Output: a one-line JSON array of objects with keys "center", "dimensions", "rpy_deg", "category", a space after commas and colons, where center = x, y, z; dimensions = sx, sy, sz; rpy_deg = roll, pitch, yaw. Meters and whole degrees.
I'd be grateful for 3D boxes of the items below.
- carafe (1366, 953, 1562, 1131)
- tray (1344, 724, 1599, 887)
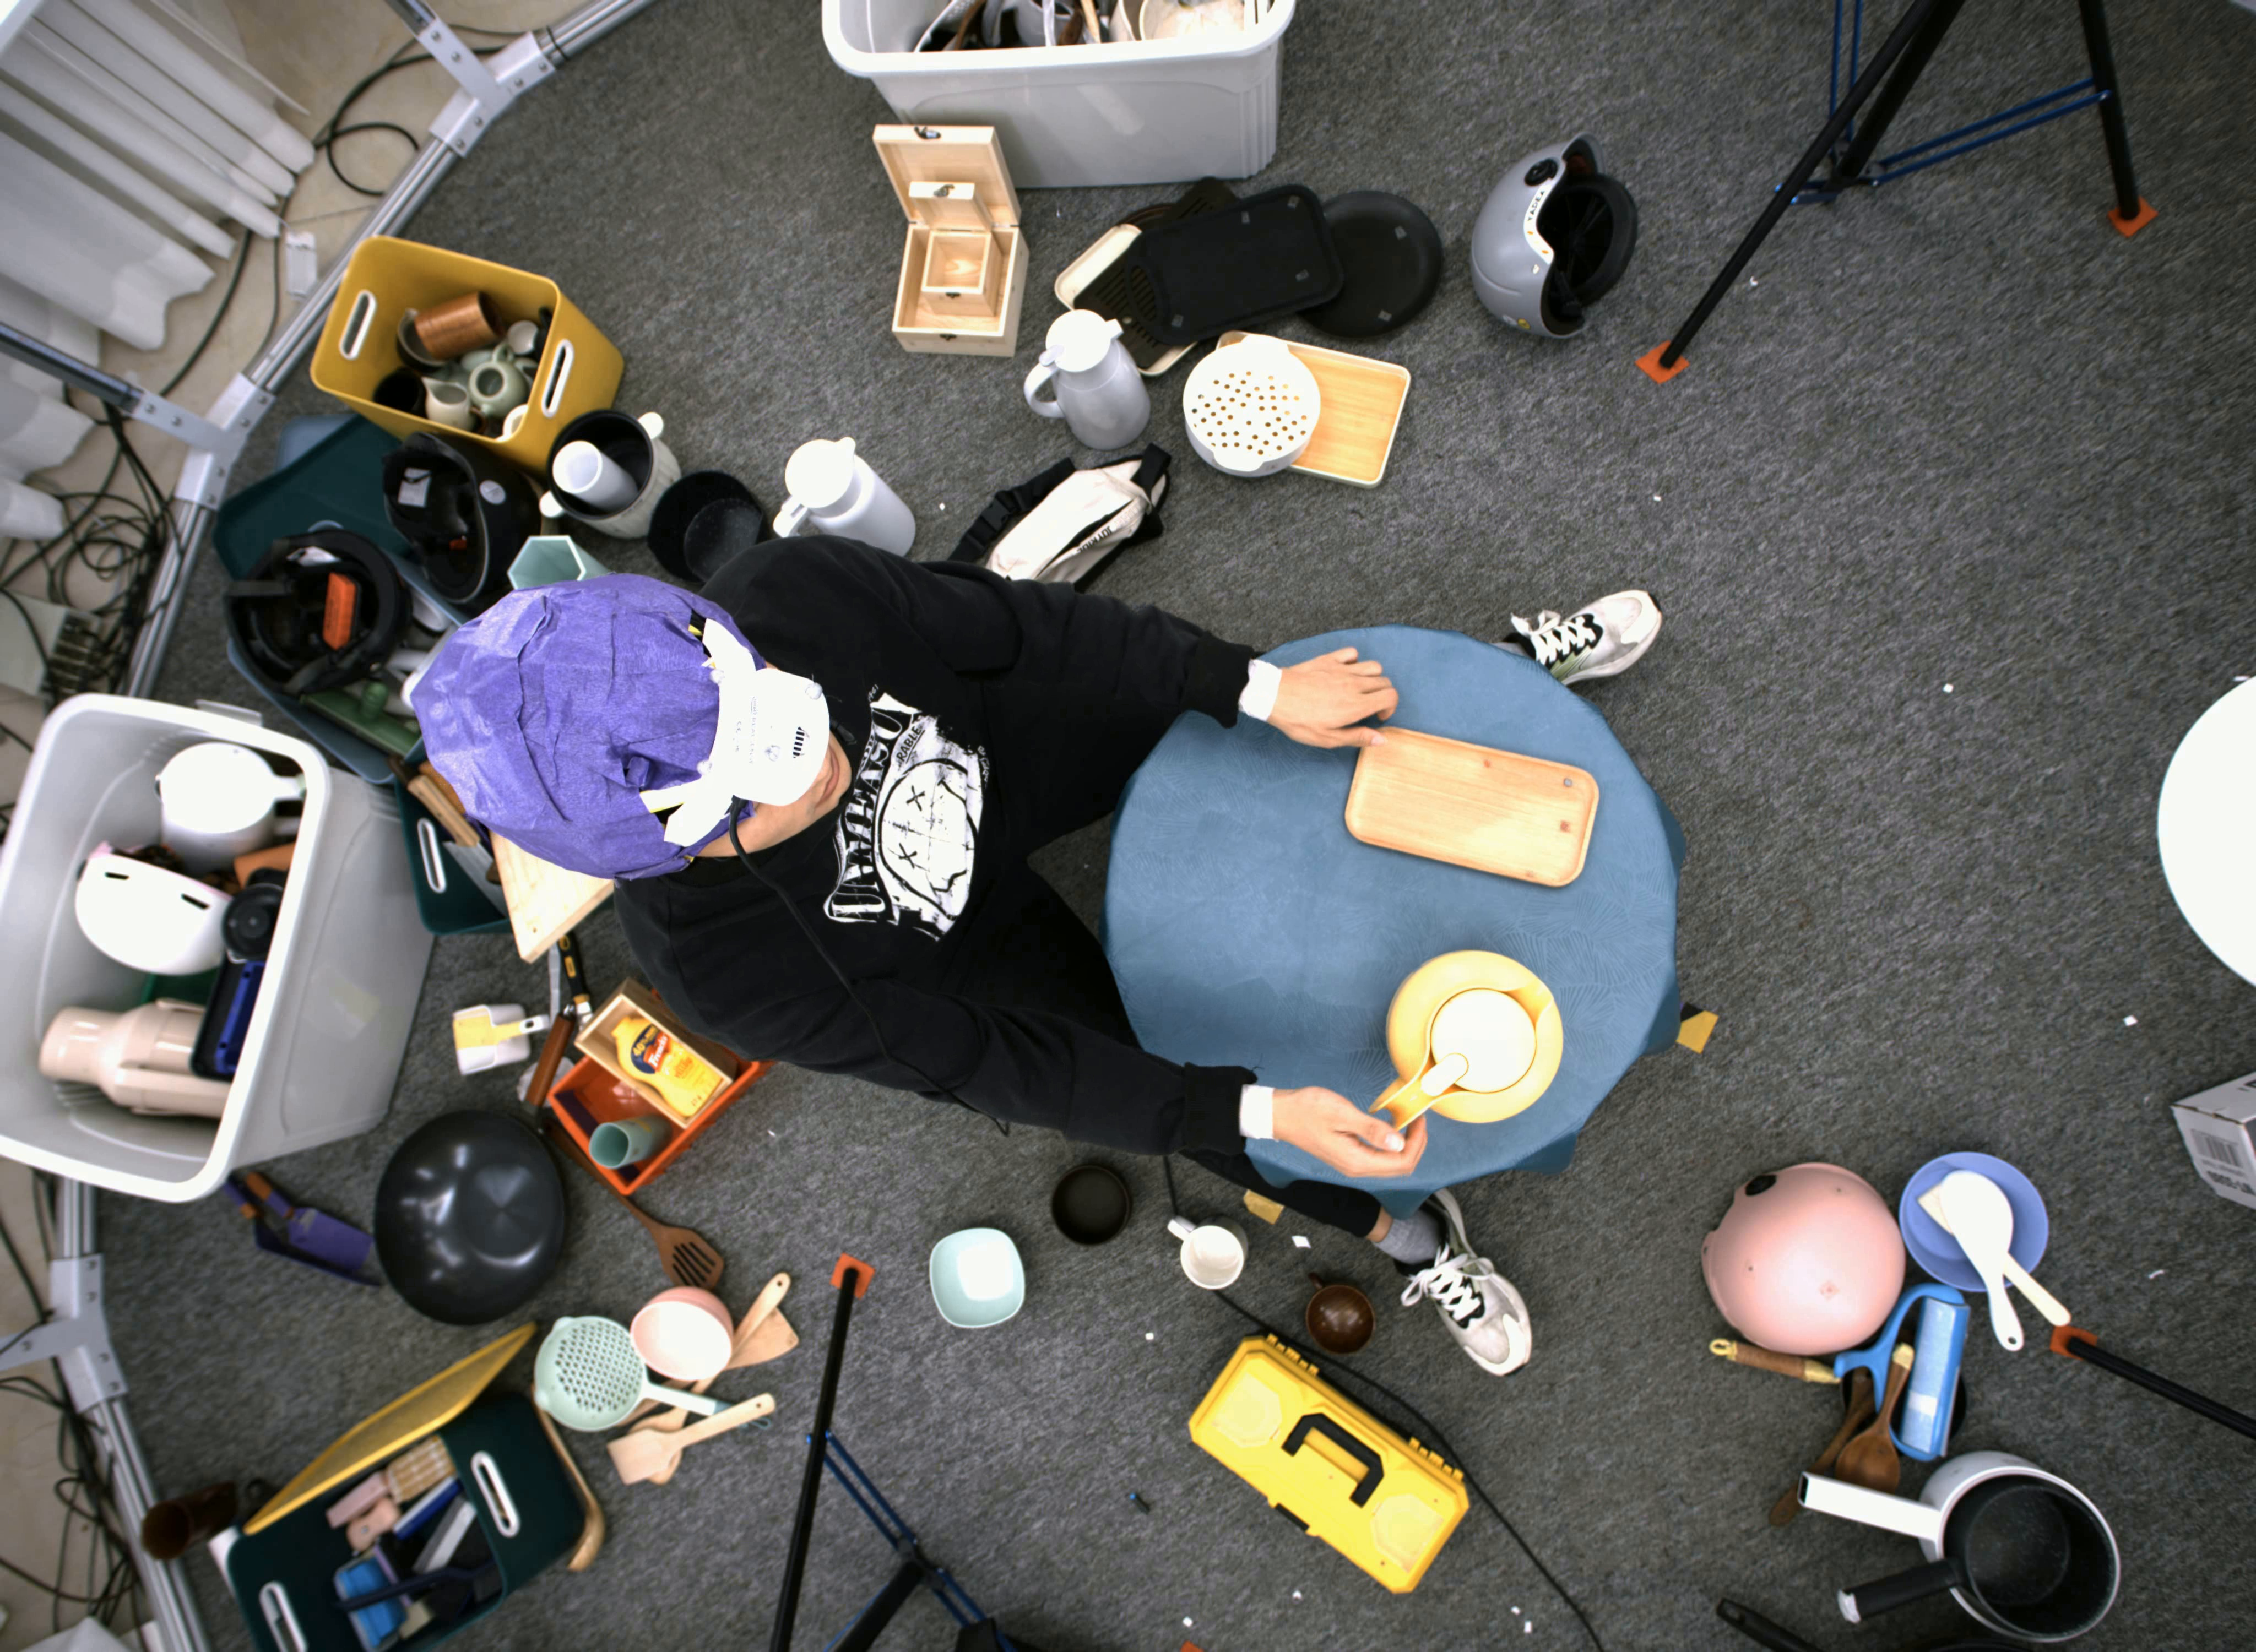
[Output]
[{"center": [0.311, 0.210, 1.313], "dimensions": [0.203, 0.261, 0.162], "rpy_deg": [-38, 77, 3], "category": "carafe"}, {"center": [0.358, -0.024, 1.440], "dimensions": [0.251, 0.023, 0.130], "rpy_deg": [15, 88, 12], "category": "tray"}]
